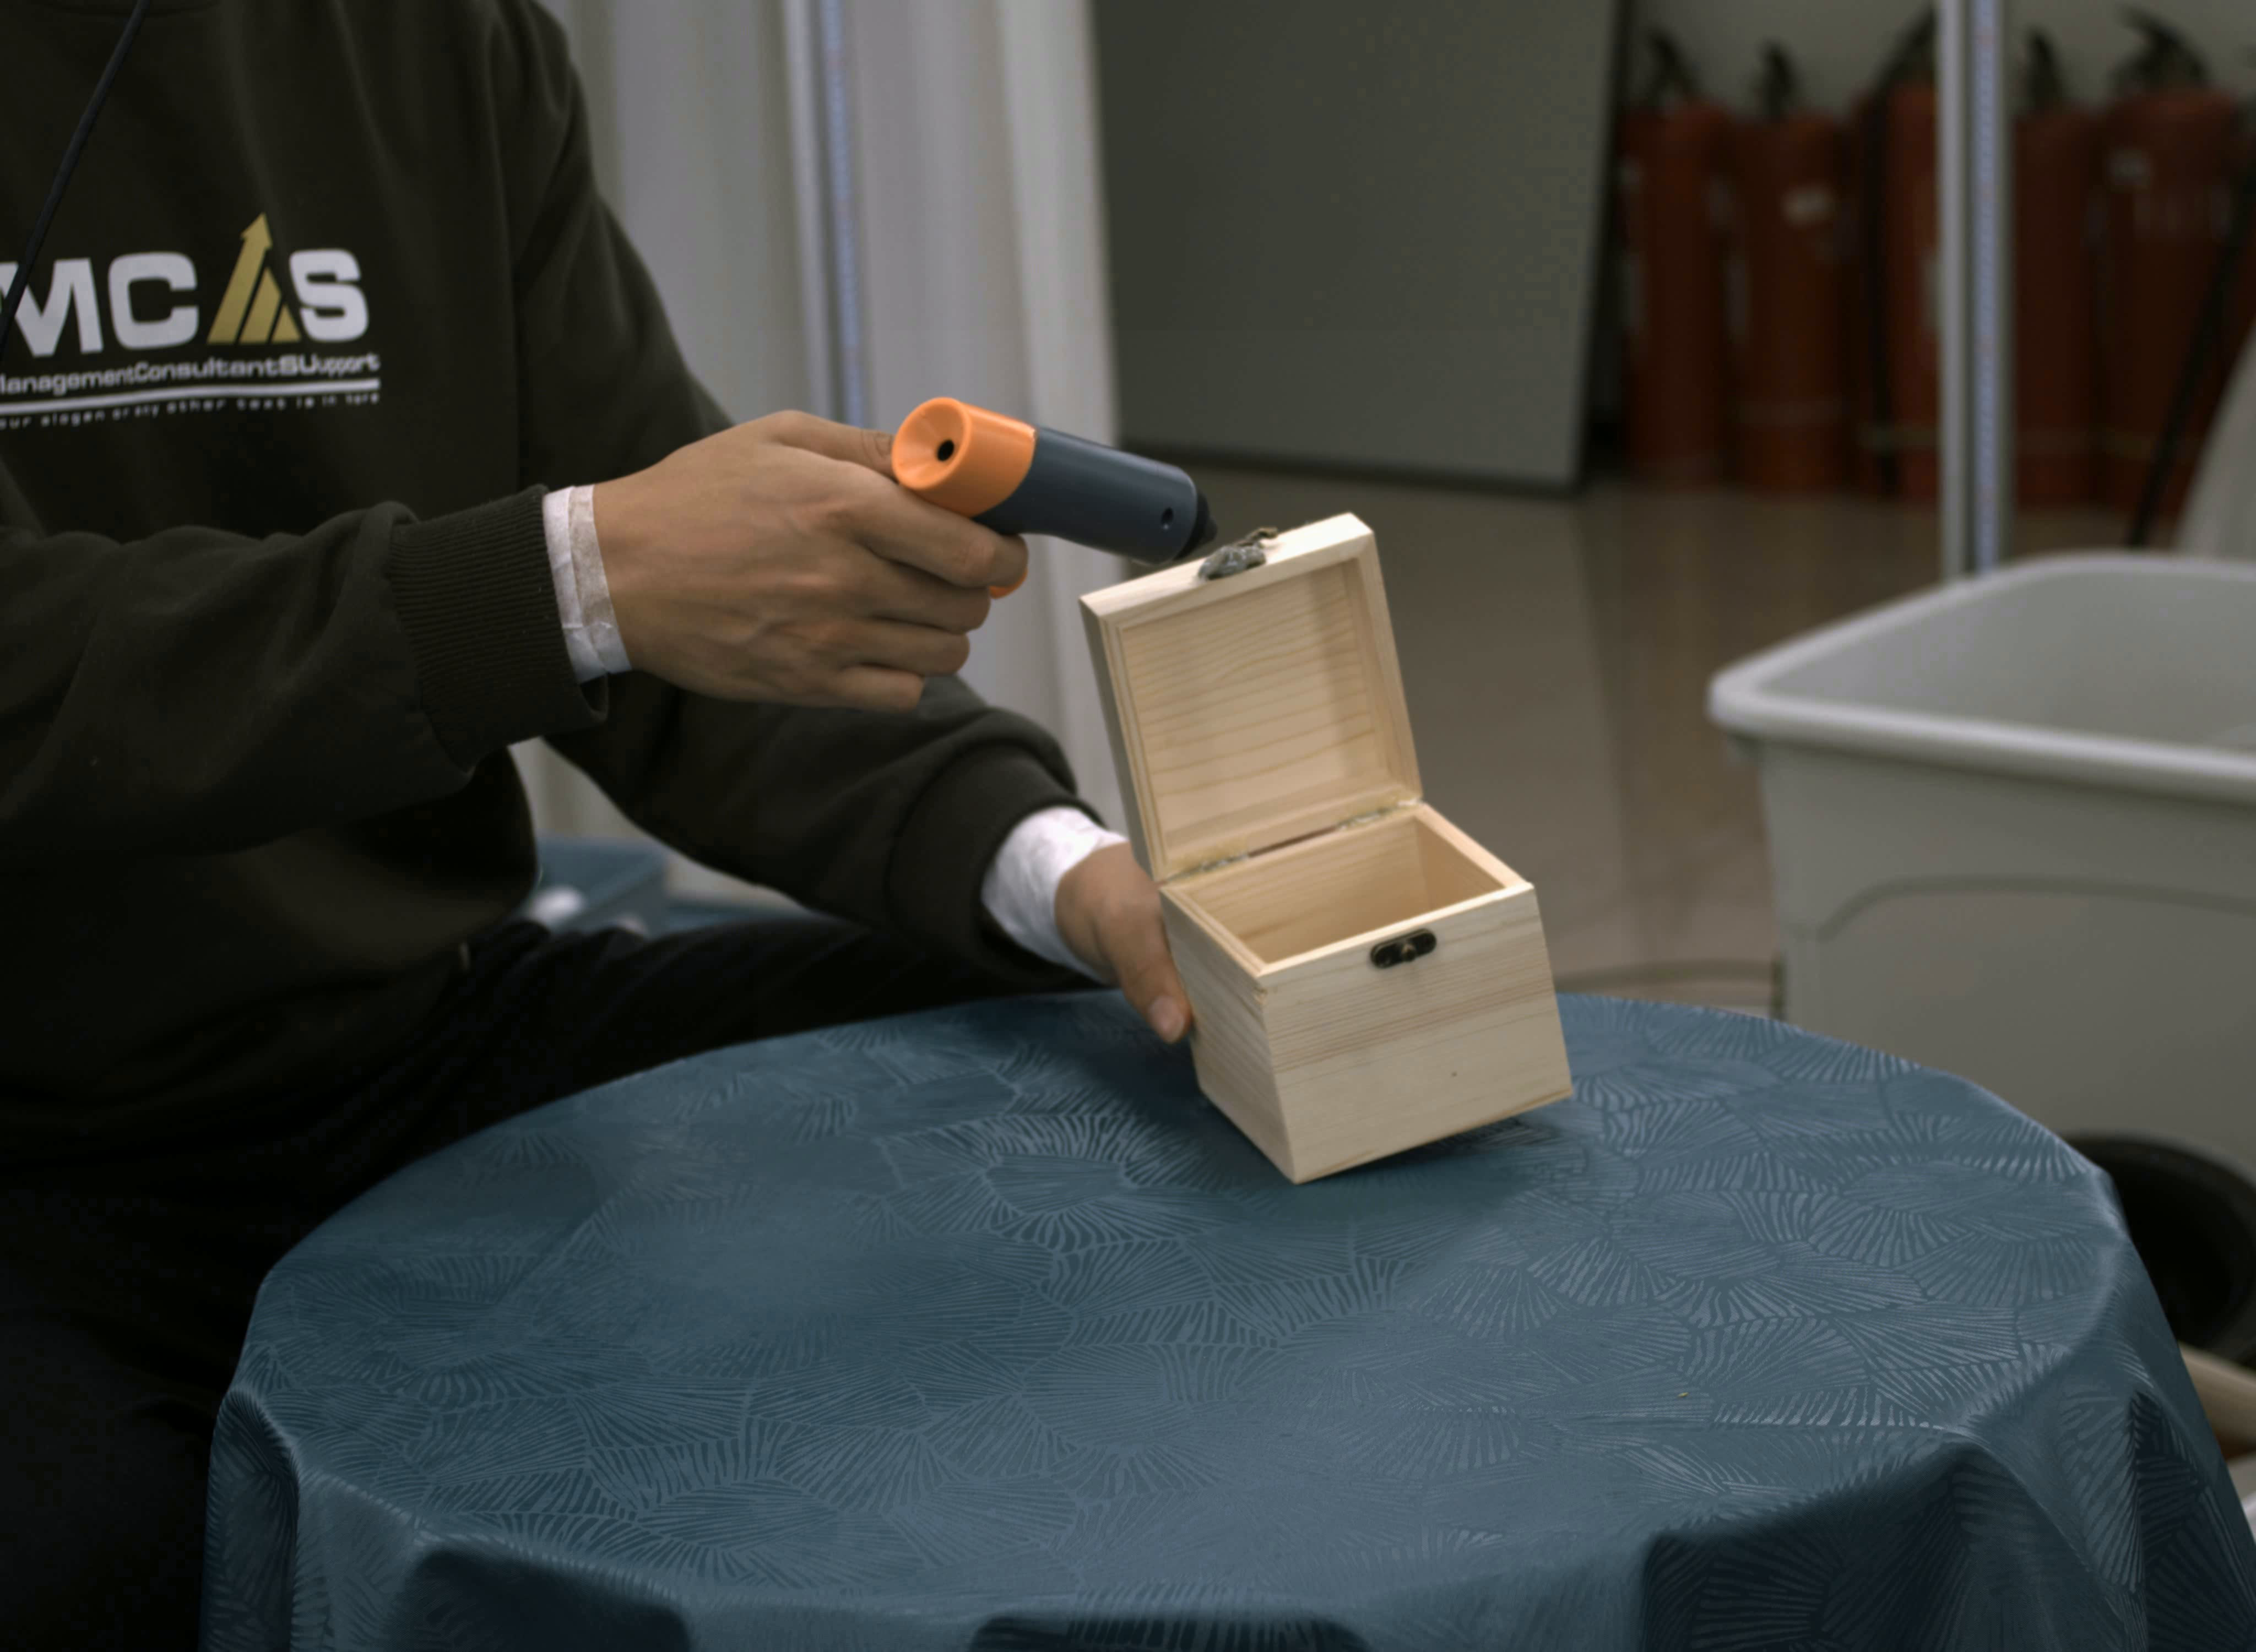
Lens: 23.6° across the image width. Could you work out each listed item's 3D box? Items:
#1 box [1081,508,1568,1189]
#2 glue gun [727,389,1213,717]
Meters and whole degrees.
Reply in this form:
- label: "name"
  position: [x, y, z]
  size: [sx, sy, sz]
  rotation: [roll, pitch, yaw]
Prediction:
- label: "box"
  position: [0.066, 0.005, 1.806]
  size: [0.101, 0.186, 0.135]
  rotation: [-17, 20, -13]
- label: "glue gun"
  position: [-0.053, -0.091, 1.785]
  size: [0.140, 0.041, 0.116]
  rotation: [-30, -38, 25]
